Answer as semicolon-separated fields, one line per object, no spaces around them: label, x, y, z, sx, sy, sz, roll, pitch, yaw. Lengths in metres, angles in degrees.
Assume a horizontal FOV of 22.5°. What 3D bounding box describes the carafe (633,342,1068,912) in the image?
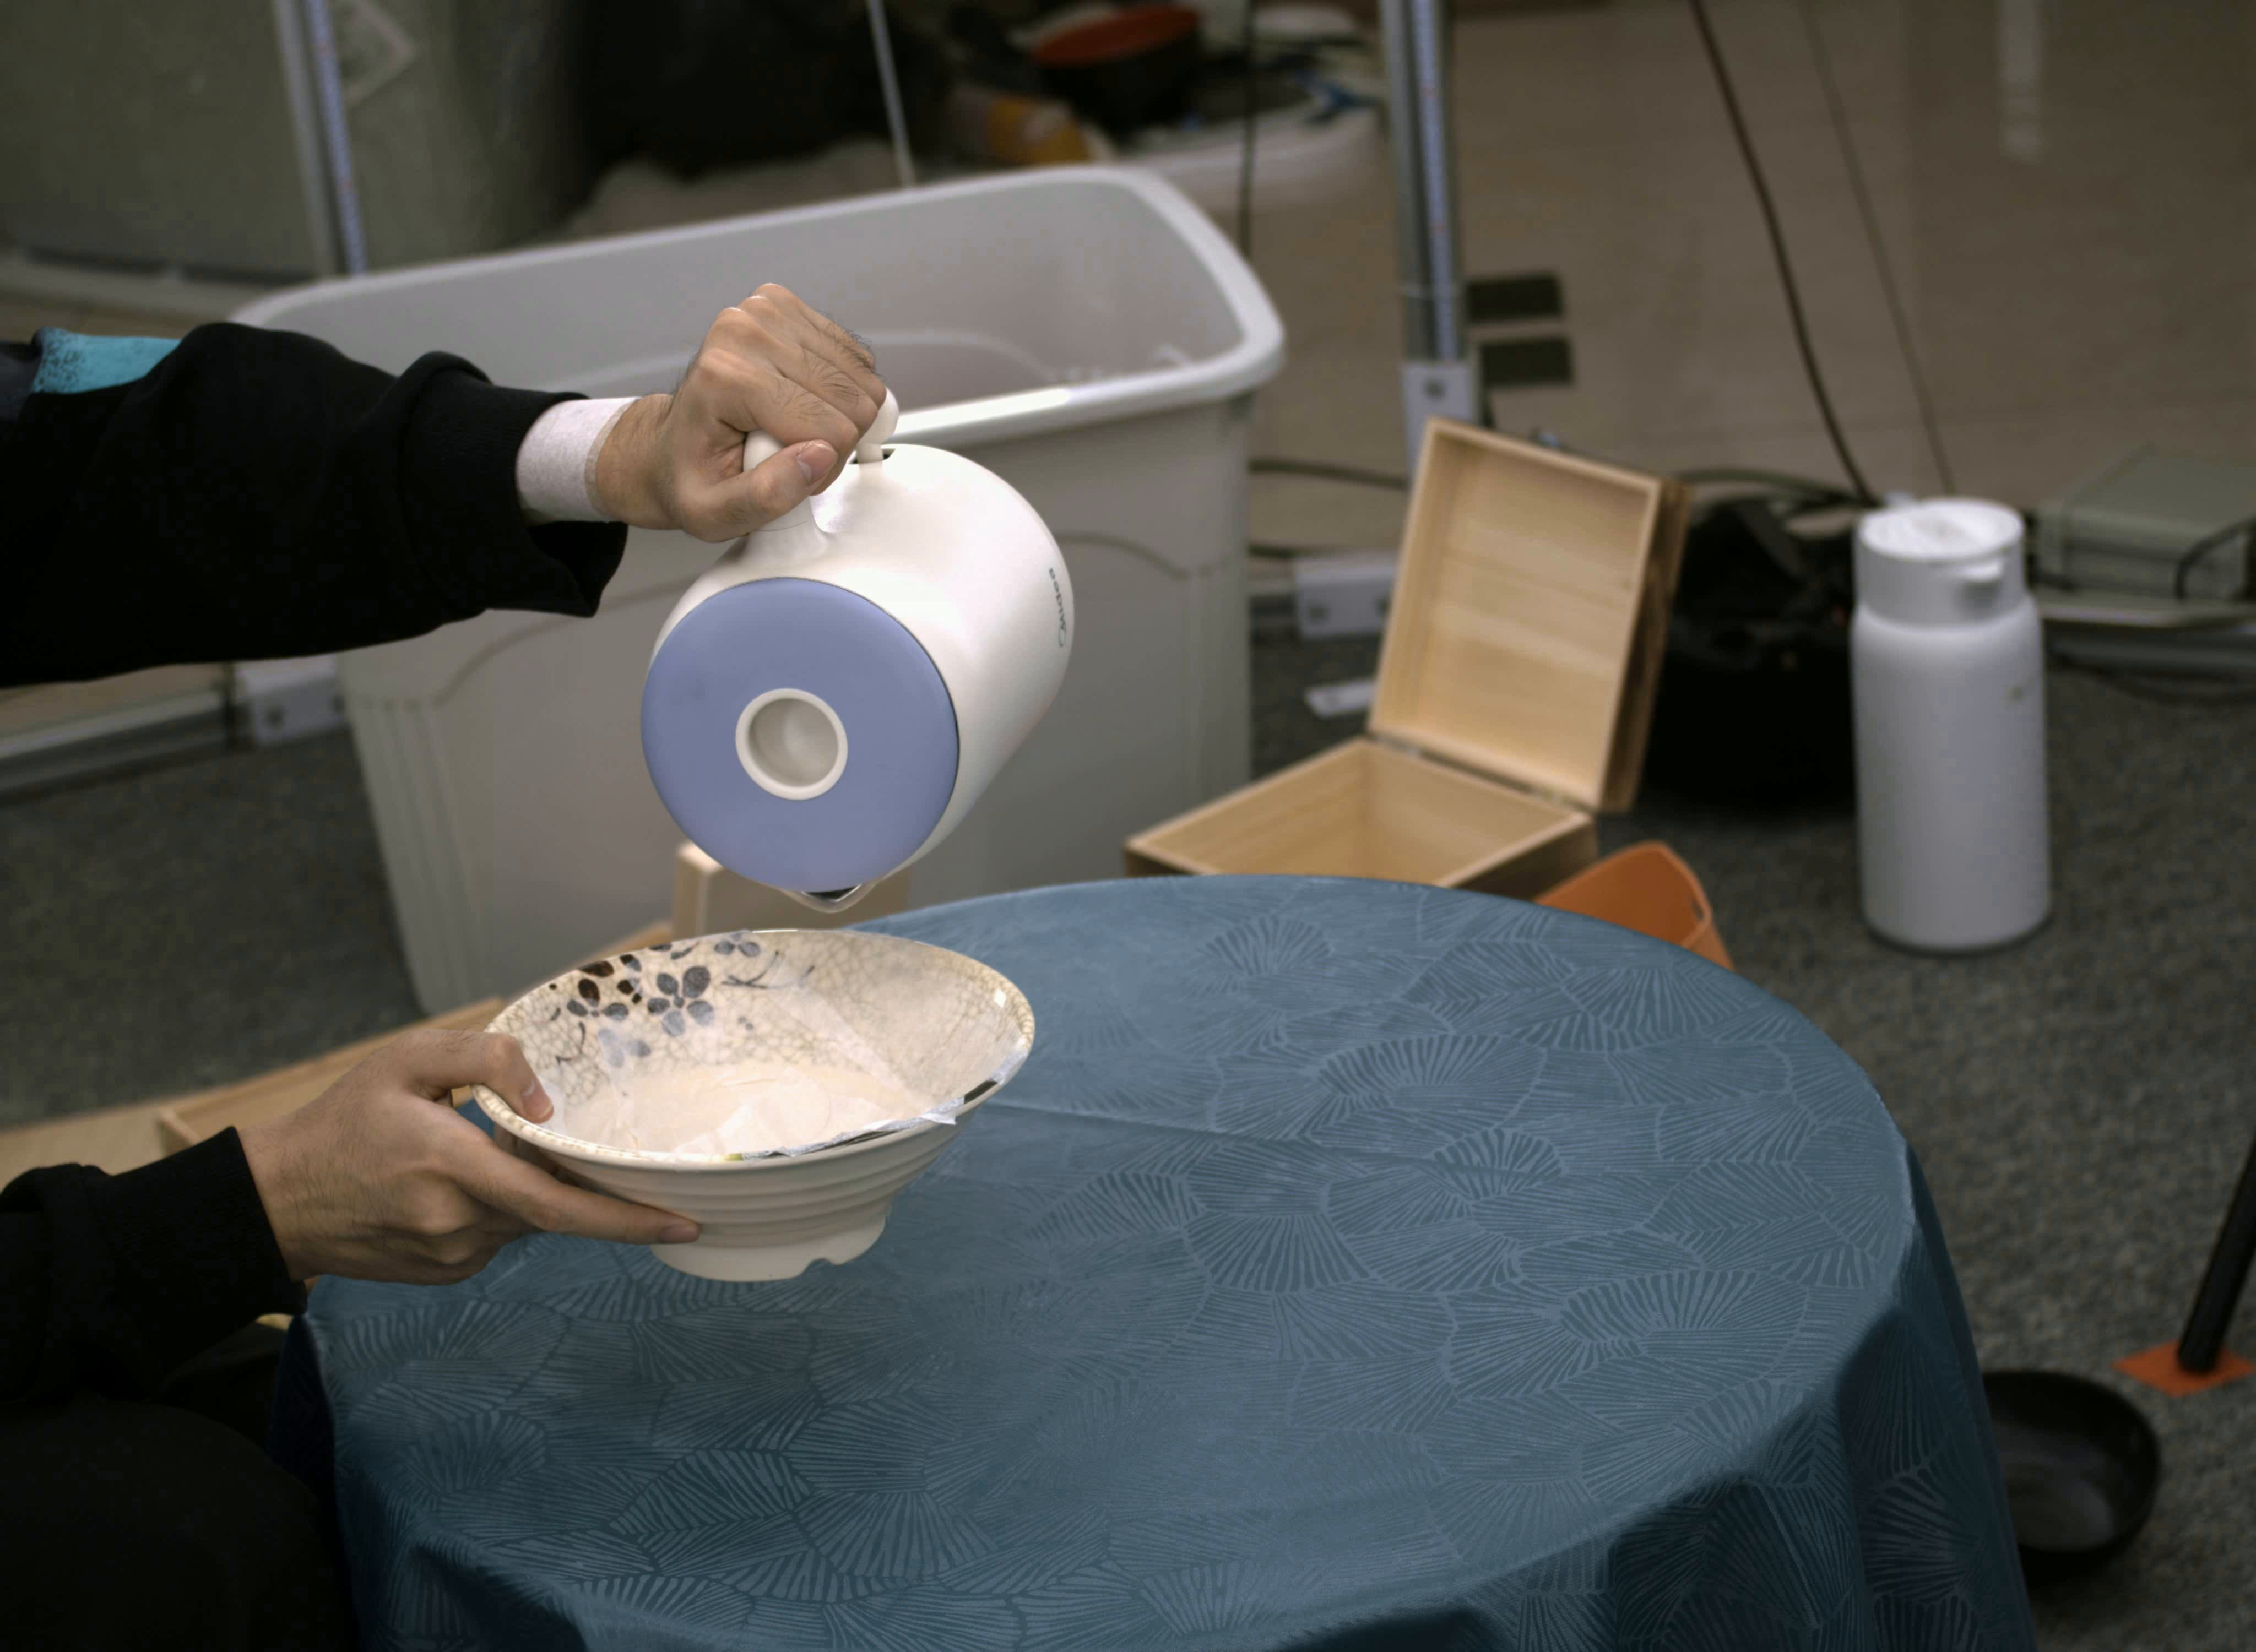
carafe;-0.107;-0.082;2.091;0.132;0.193;0.180;-7;16;15

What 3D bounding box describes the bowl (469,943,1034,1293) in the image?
bowl;-0.129;0.114;2.032;0.204;0.079;0.201;-7;20;3
